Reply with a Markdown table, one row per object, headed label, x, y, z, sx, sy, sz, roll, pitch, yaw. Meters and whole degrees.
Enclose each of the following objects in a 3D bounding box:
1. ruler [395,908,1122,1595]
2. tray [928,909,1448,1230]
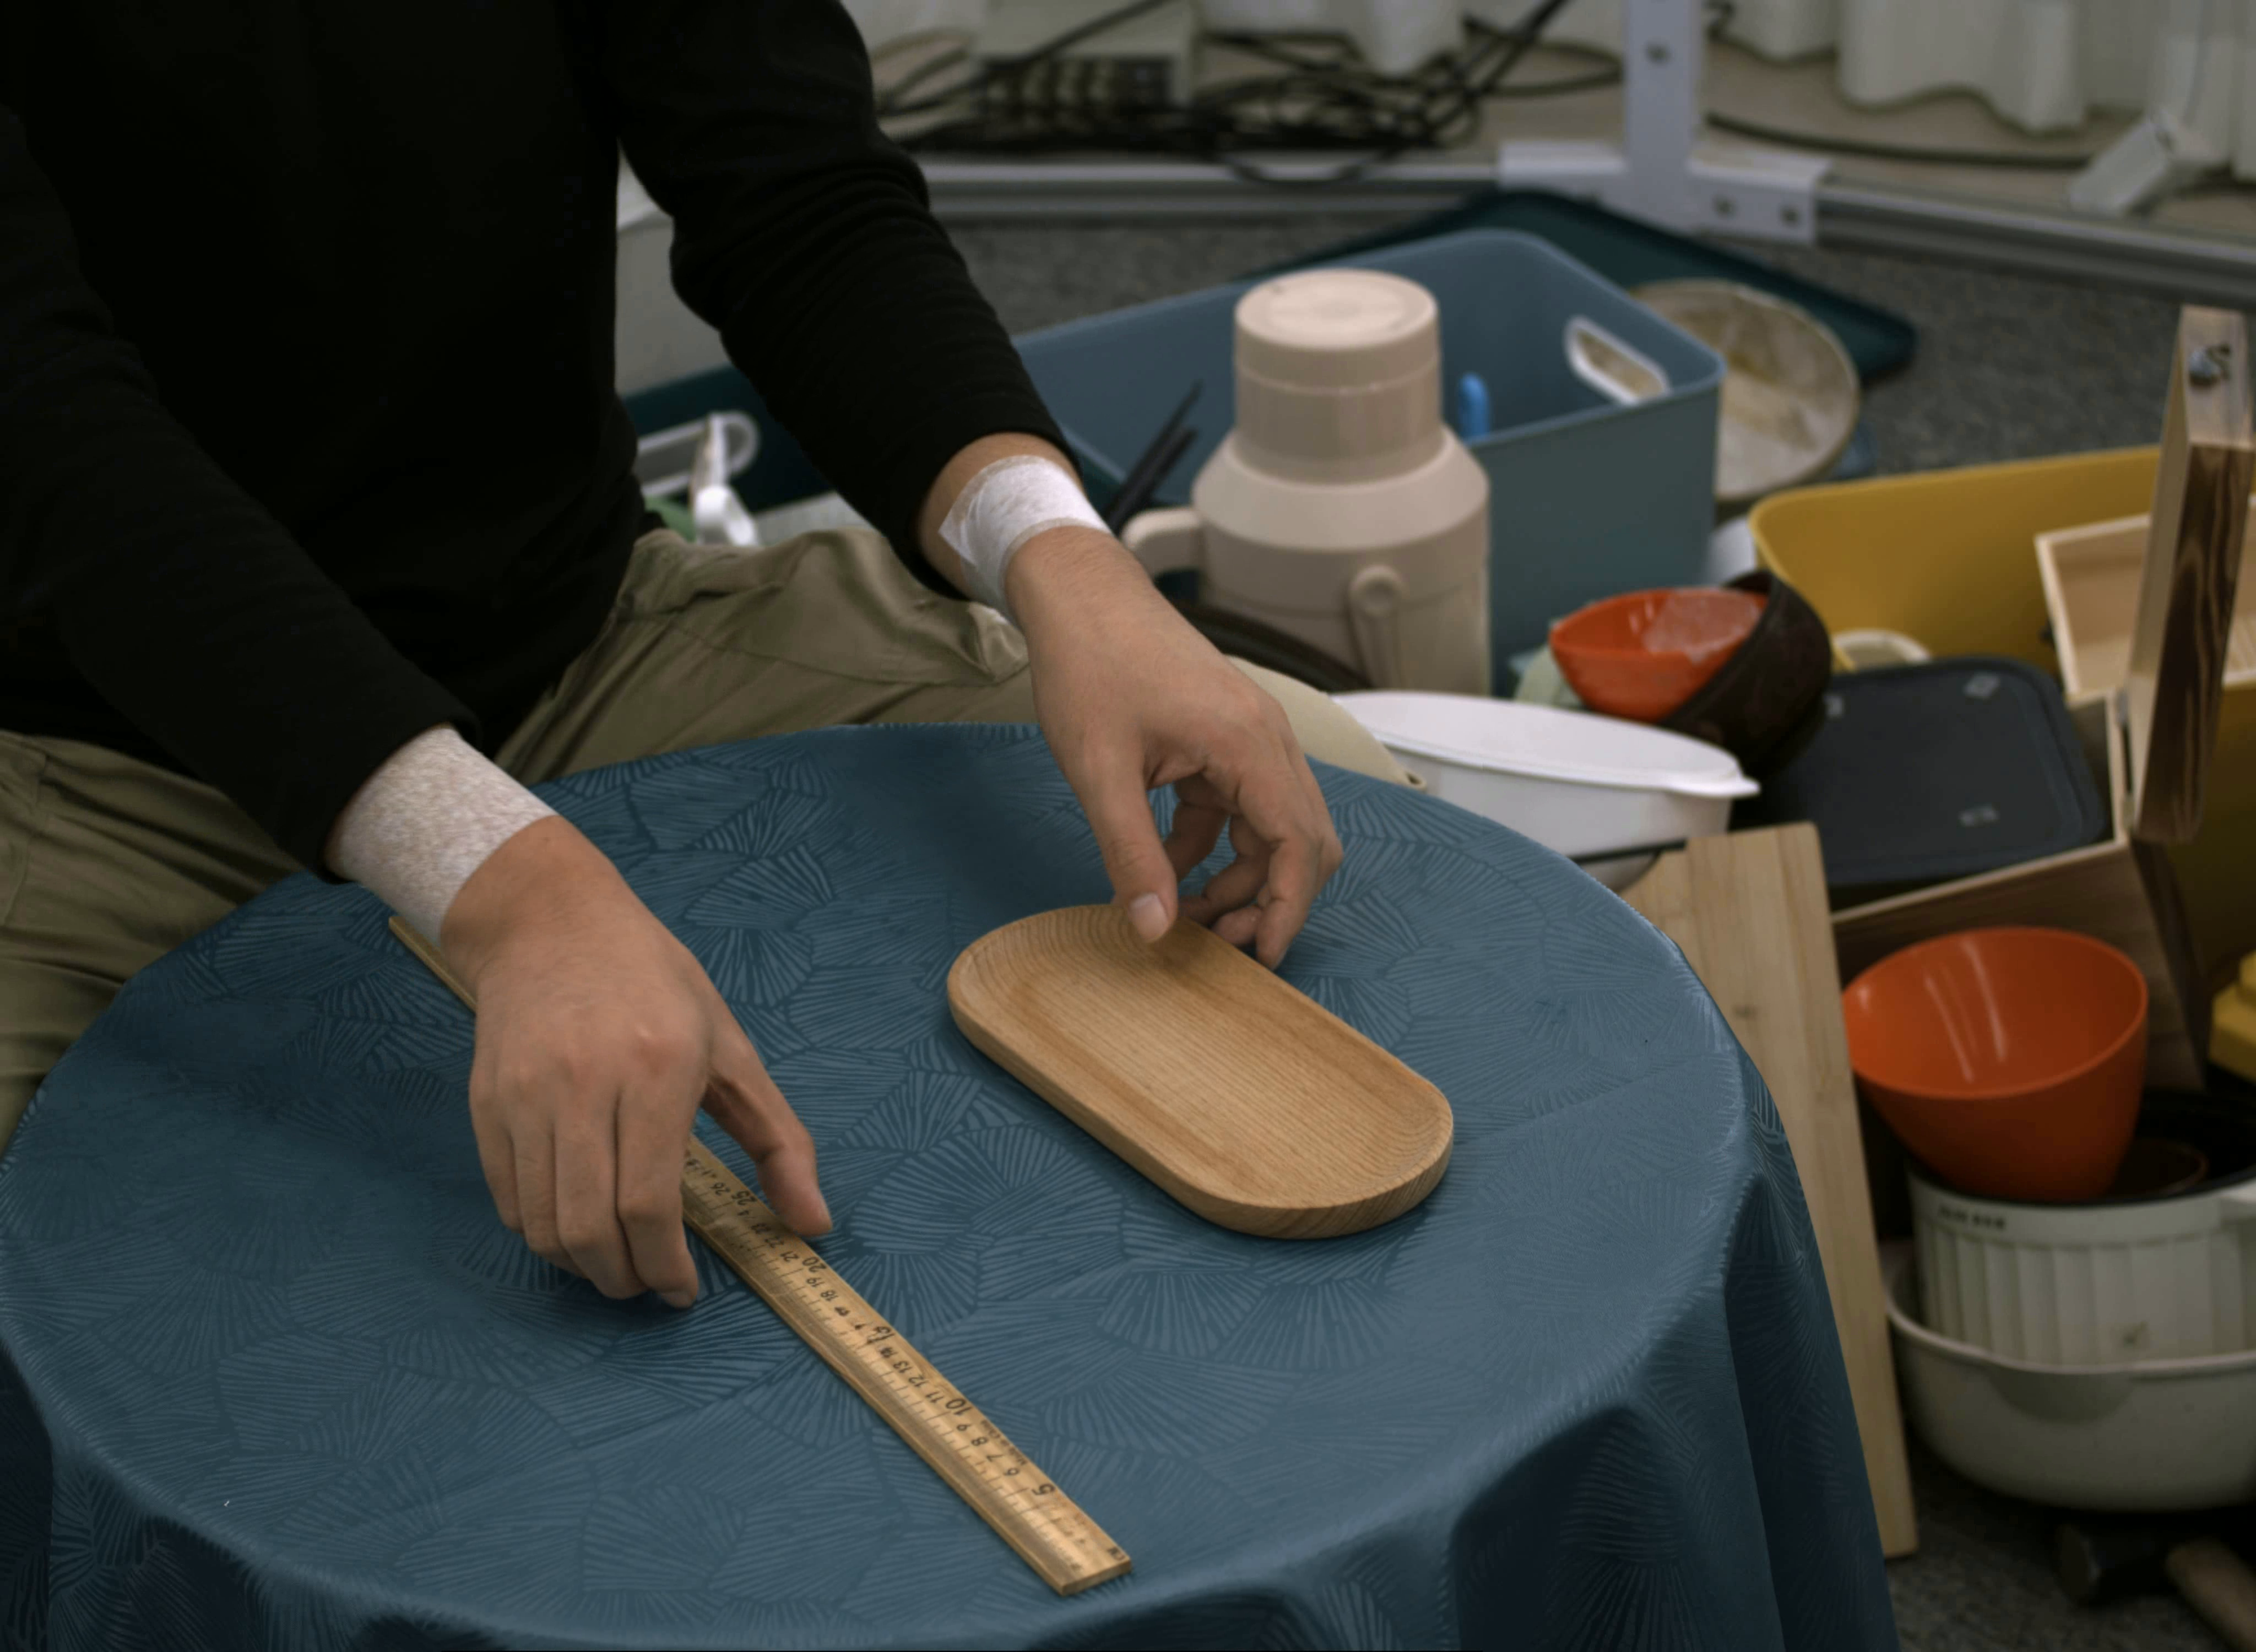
| label | x | y | z | sx | sy | sz | roll | pitch | yaw |
| --- | --- | --- | --- | --- | --- | --- | --- | --- | --- |
| ruler | -0.134 | 0.128 | 1.856 | 0.027 | 0.006 | 0.502 | -14 | 29 | -26 |
| tray | 0.019 | 0.082 | 1.919 | 0.102 | 0.020 | 0.231 | -19 | 30 | -31 |
